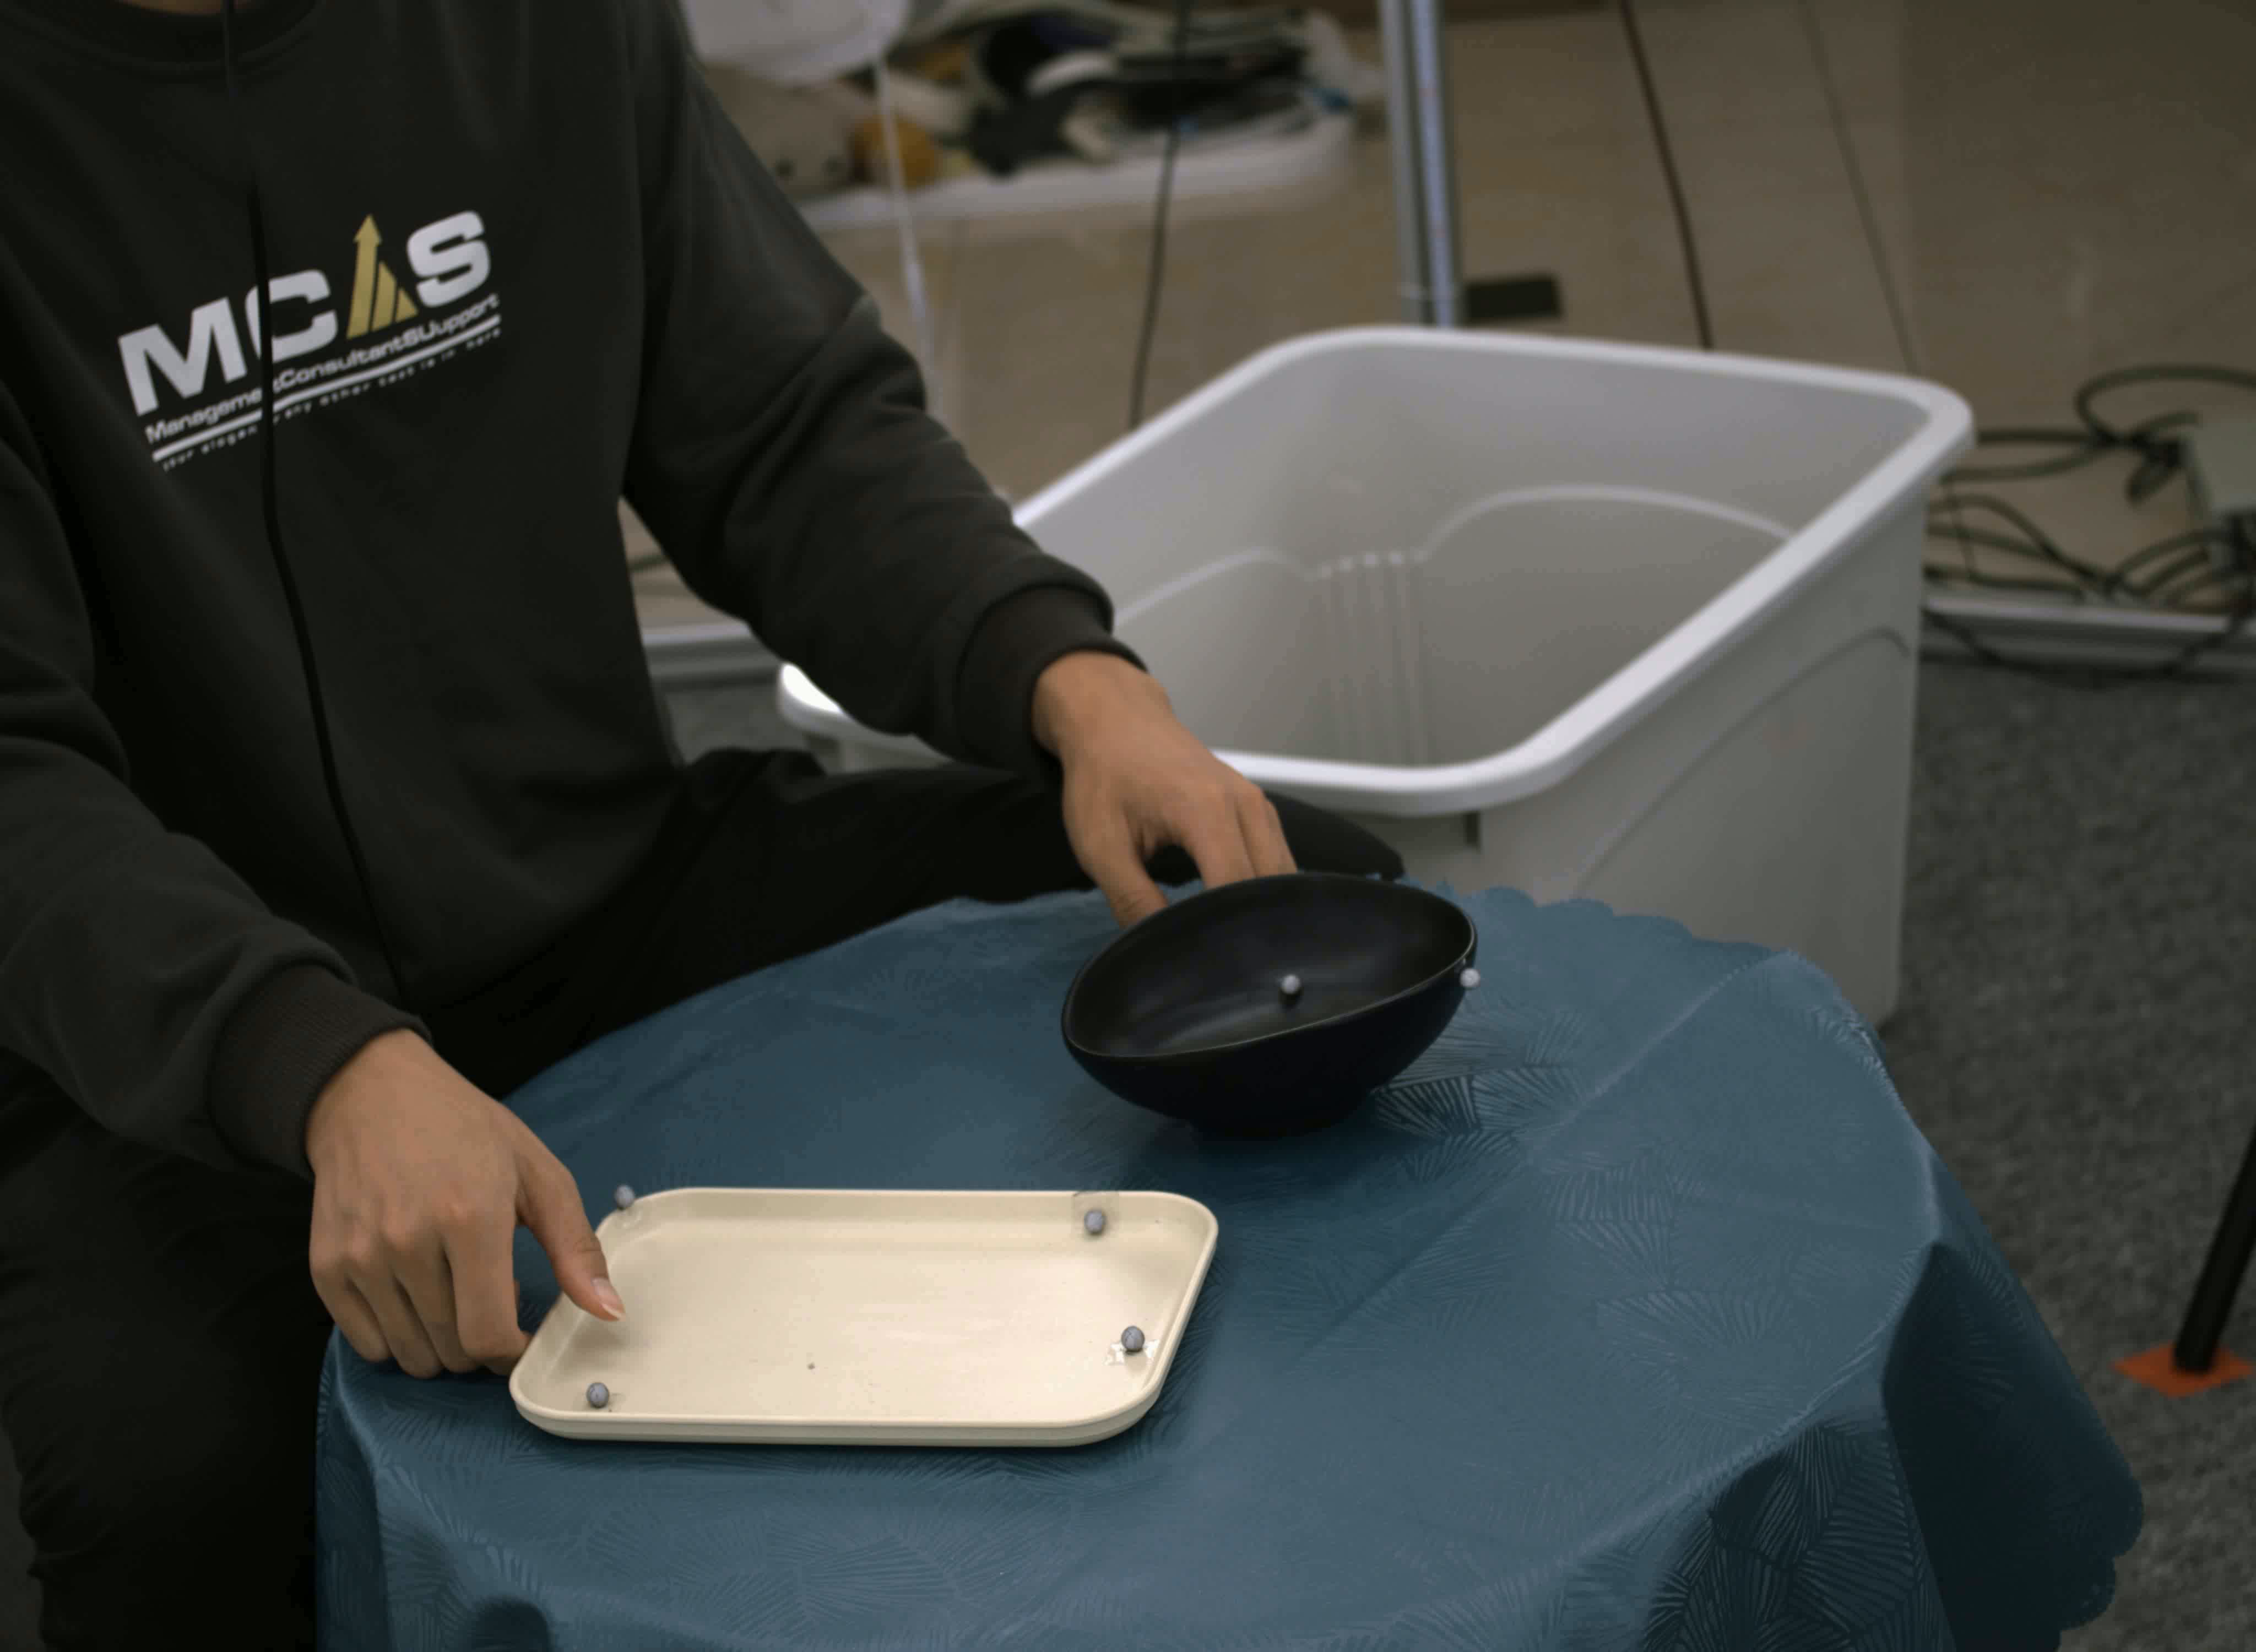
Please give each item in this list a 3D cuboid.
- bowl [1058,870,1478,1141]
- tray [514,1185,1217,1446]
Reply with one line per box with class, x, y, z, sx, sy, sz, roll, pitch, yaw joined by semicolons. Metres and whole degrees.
bowl;0.058;0.078;2.191;0.169;0.068;0.136;-19;26;-21
tray;-0.093;0.178;2.063;0.239;0.018;0.169;0;26;13
